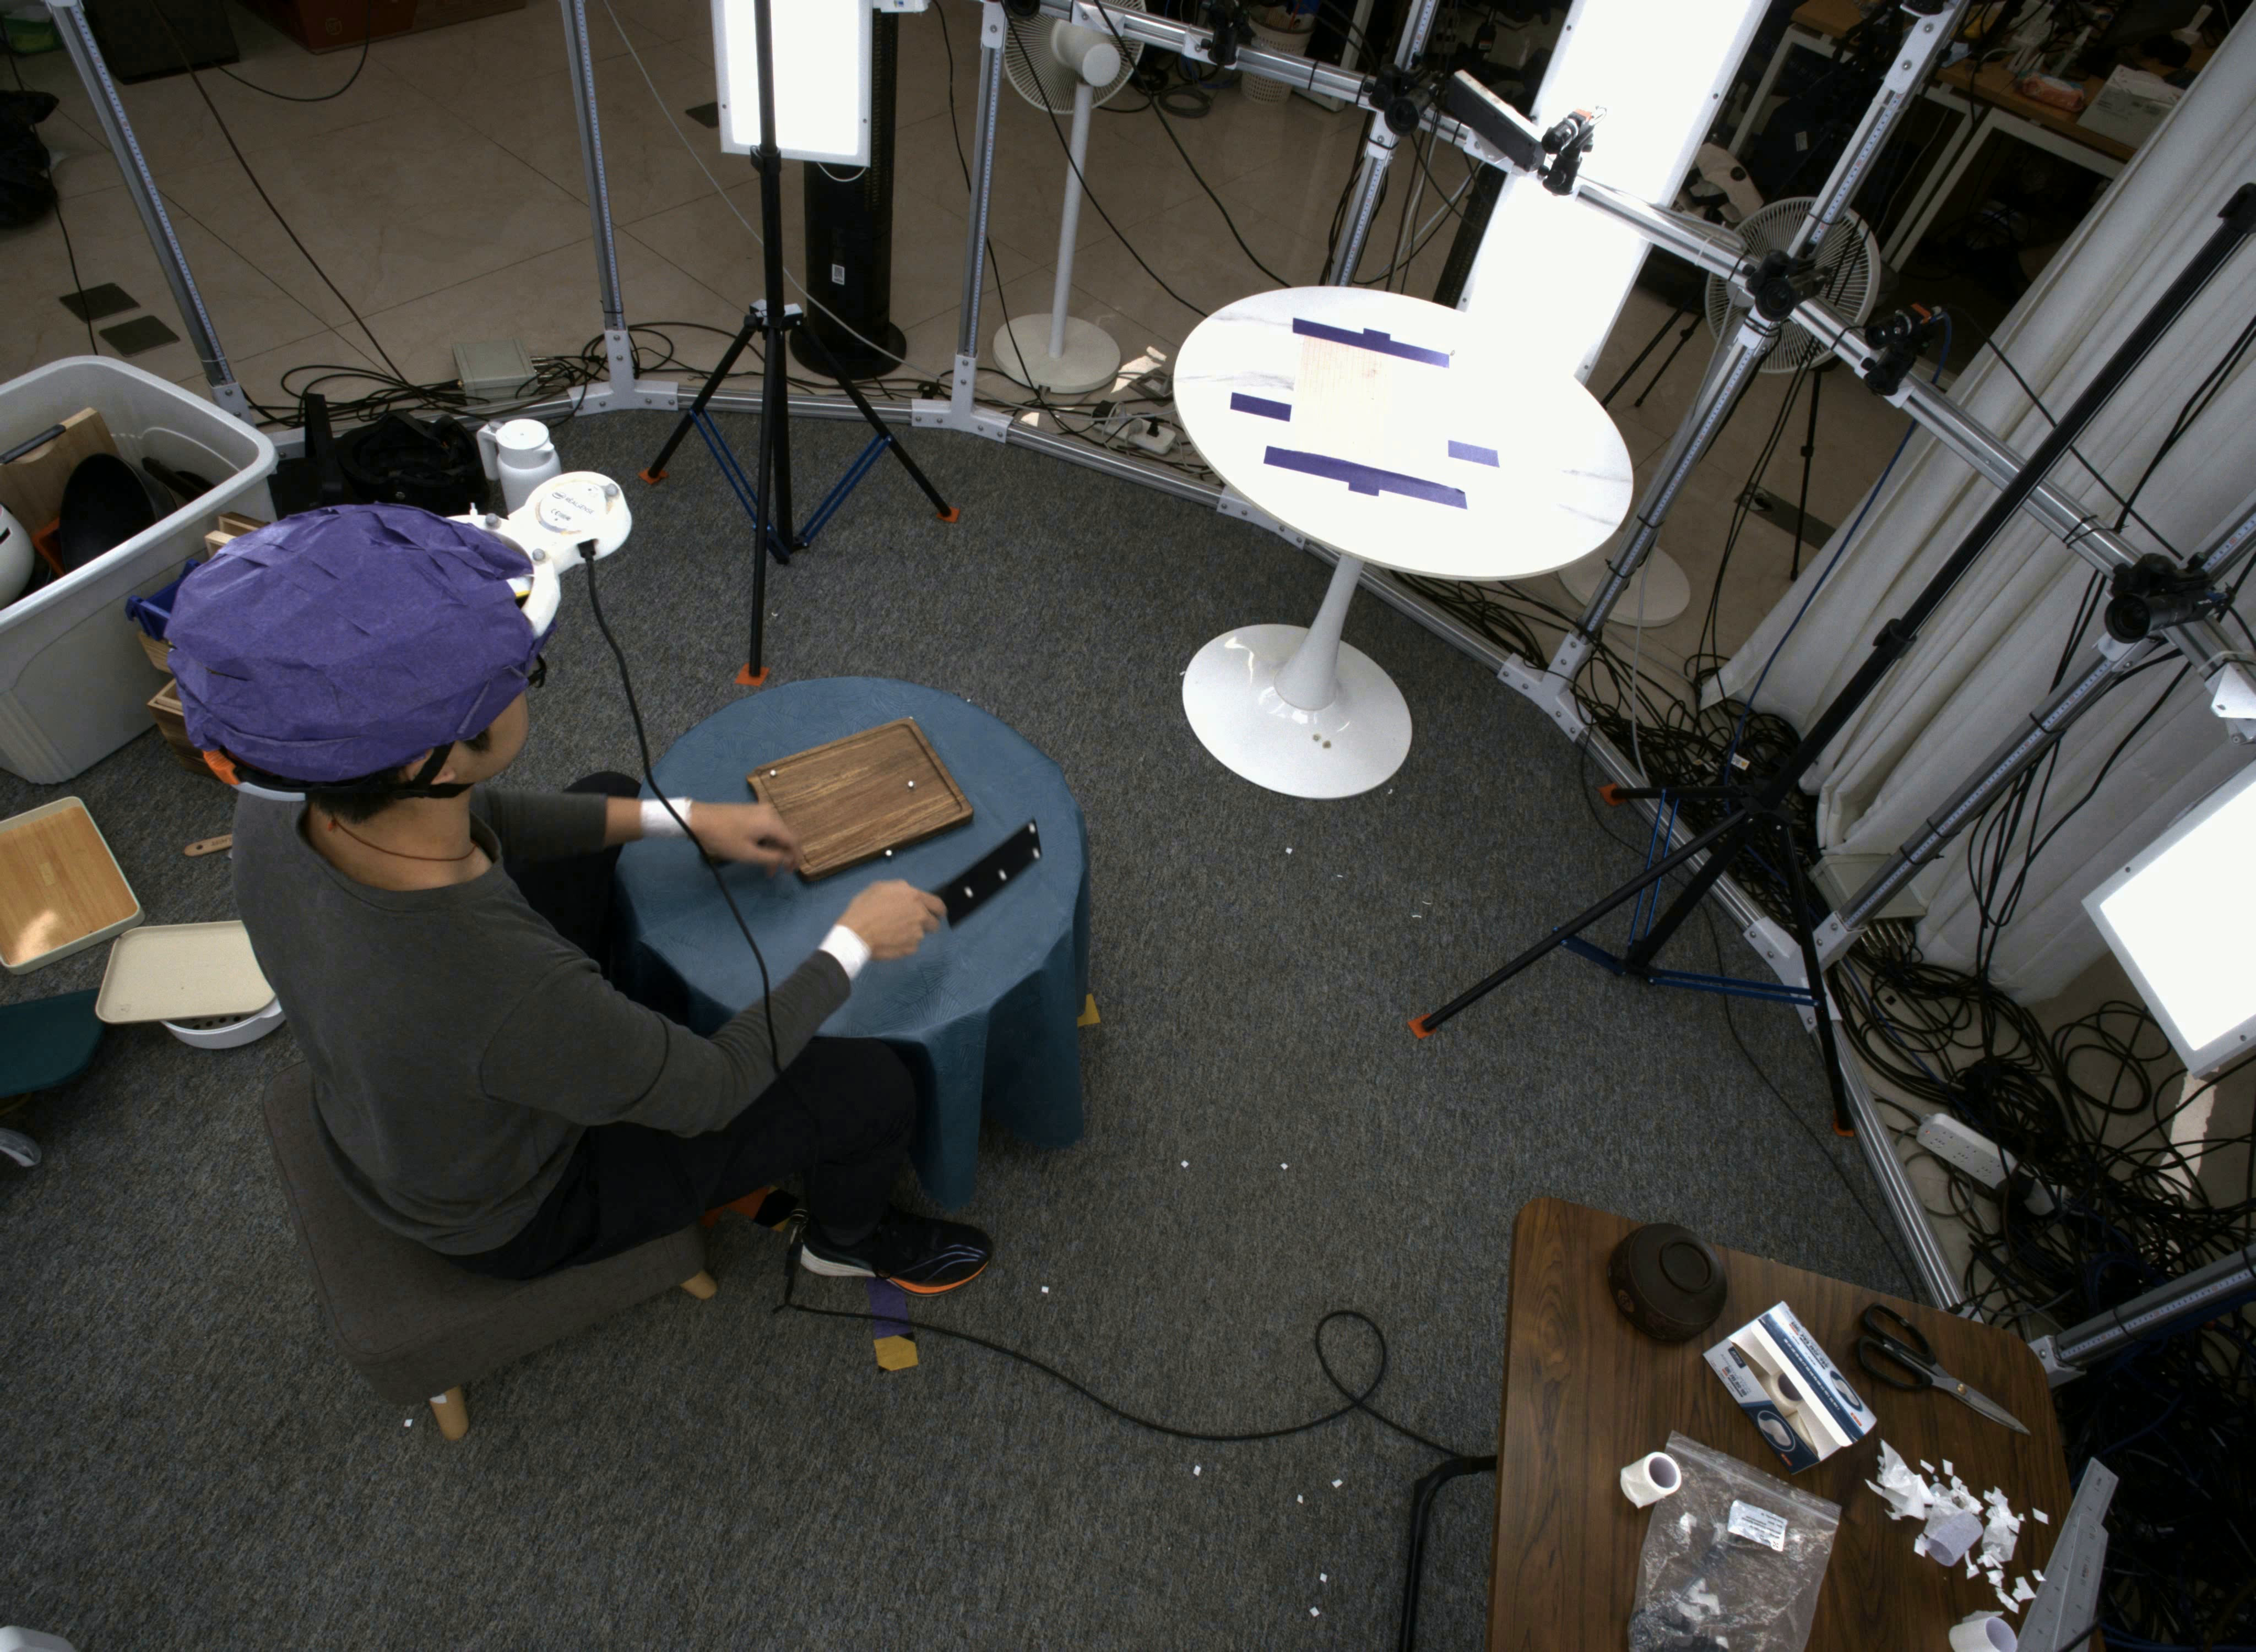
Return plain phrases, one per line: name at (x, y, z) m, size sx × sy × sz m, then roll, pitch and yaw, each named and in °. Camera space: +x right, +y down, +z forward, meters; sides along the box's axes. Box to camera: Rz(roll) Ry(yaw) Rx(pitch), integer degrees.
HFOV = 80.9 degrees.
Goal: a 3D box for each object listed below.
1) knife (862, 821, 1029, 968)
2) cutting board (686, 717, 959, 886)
knife at (-0.225, 0.090, 1.650) m, size 0.020 × 0.083 × 0.303 m, roll 12°, pitch 33°, yaw 35°
cutting board at (-0.423, -0.023, 1.738) m, size 0.354 × 0.023 × 0.196 m, roll -24°, pitch 62°, yaw -28°
